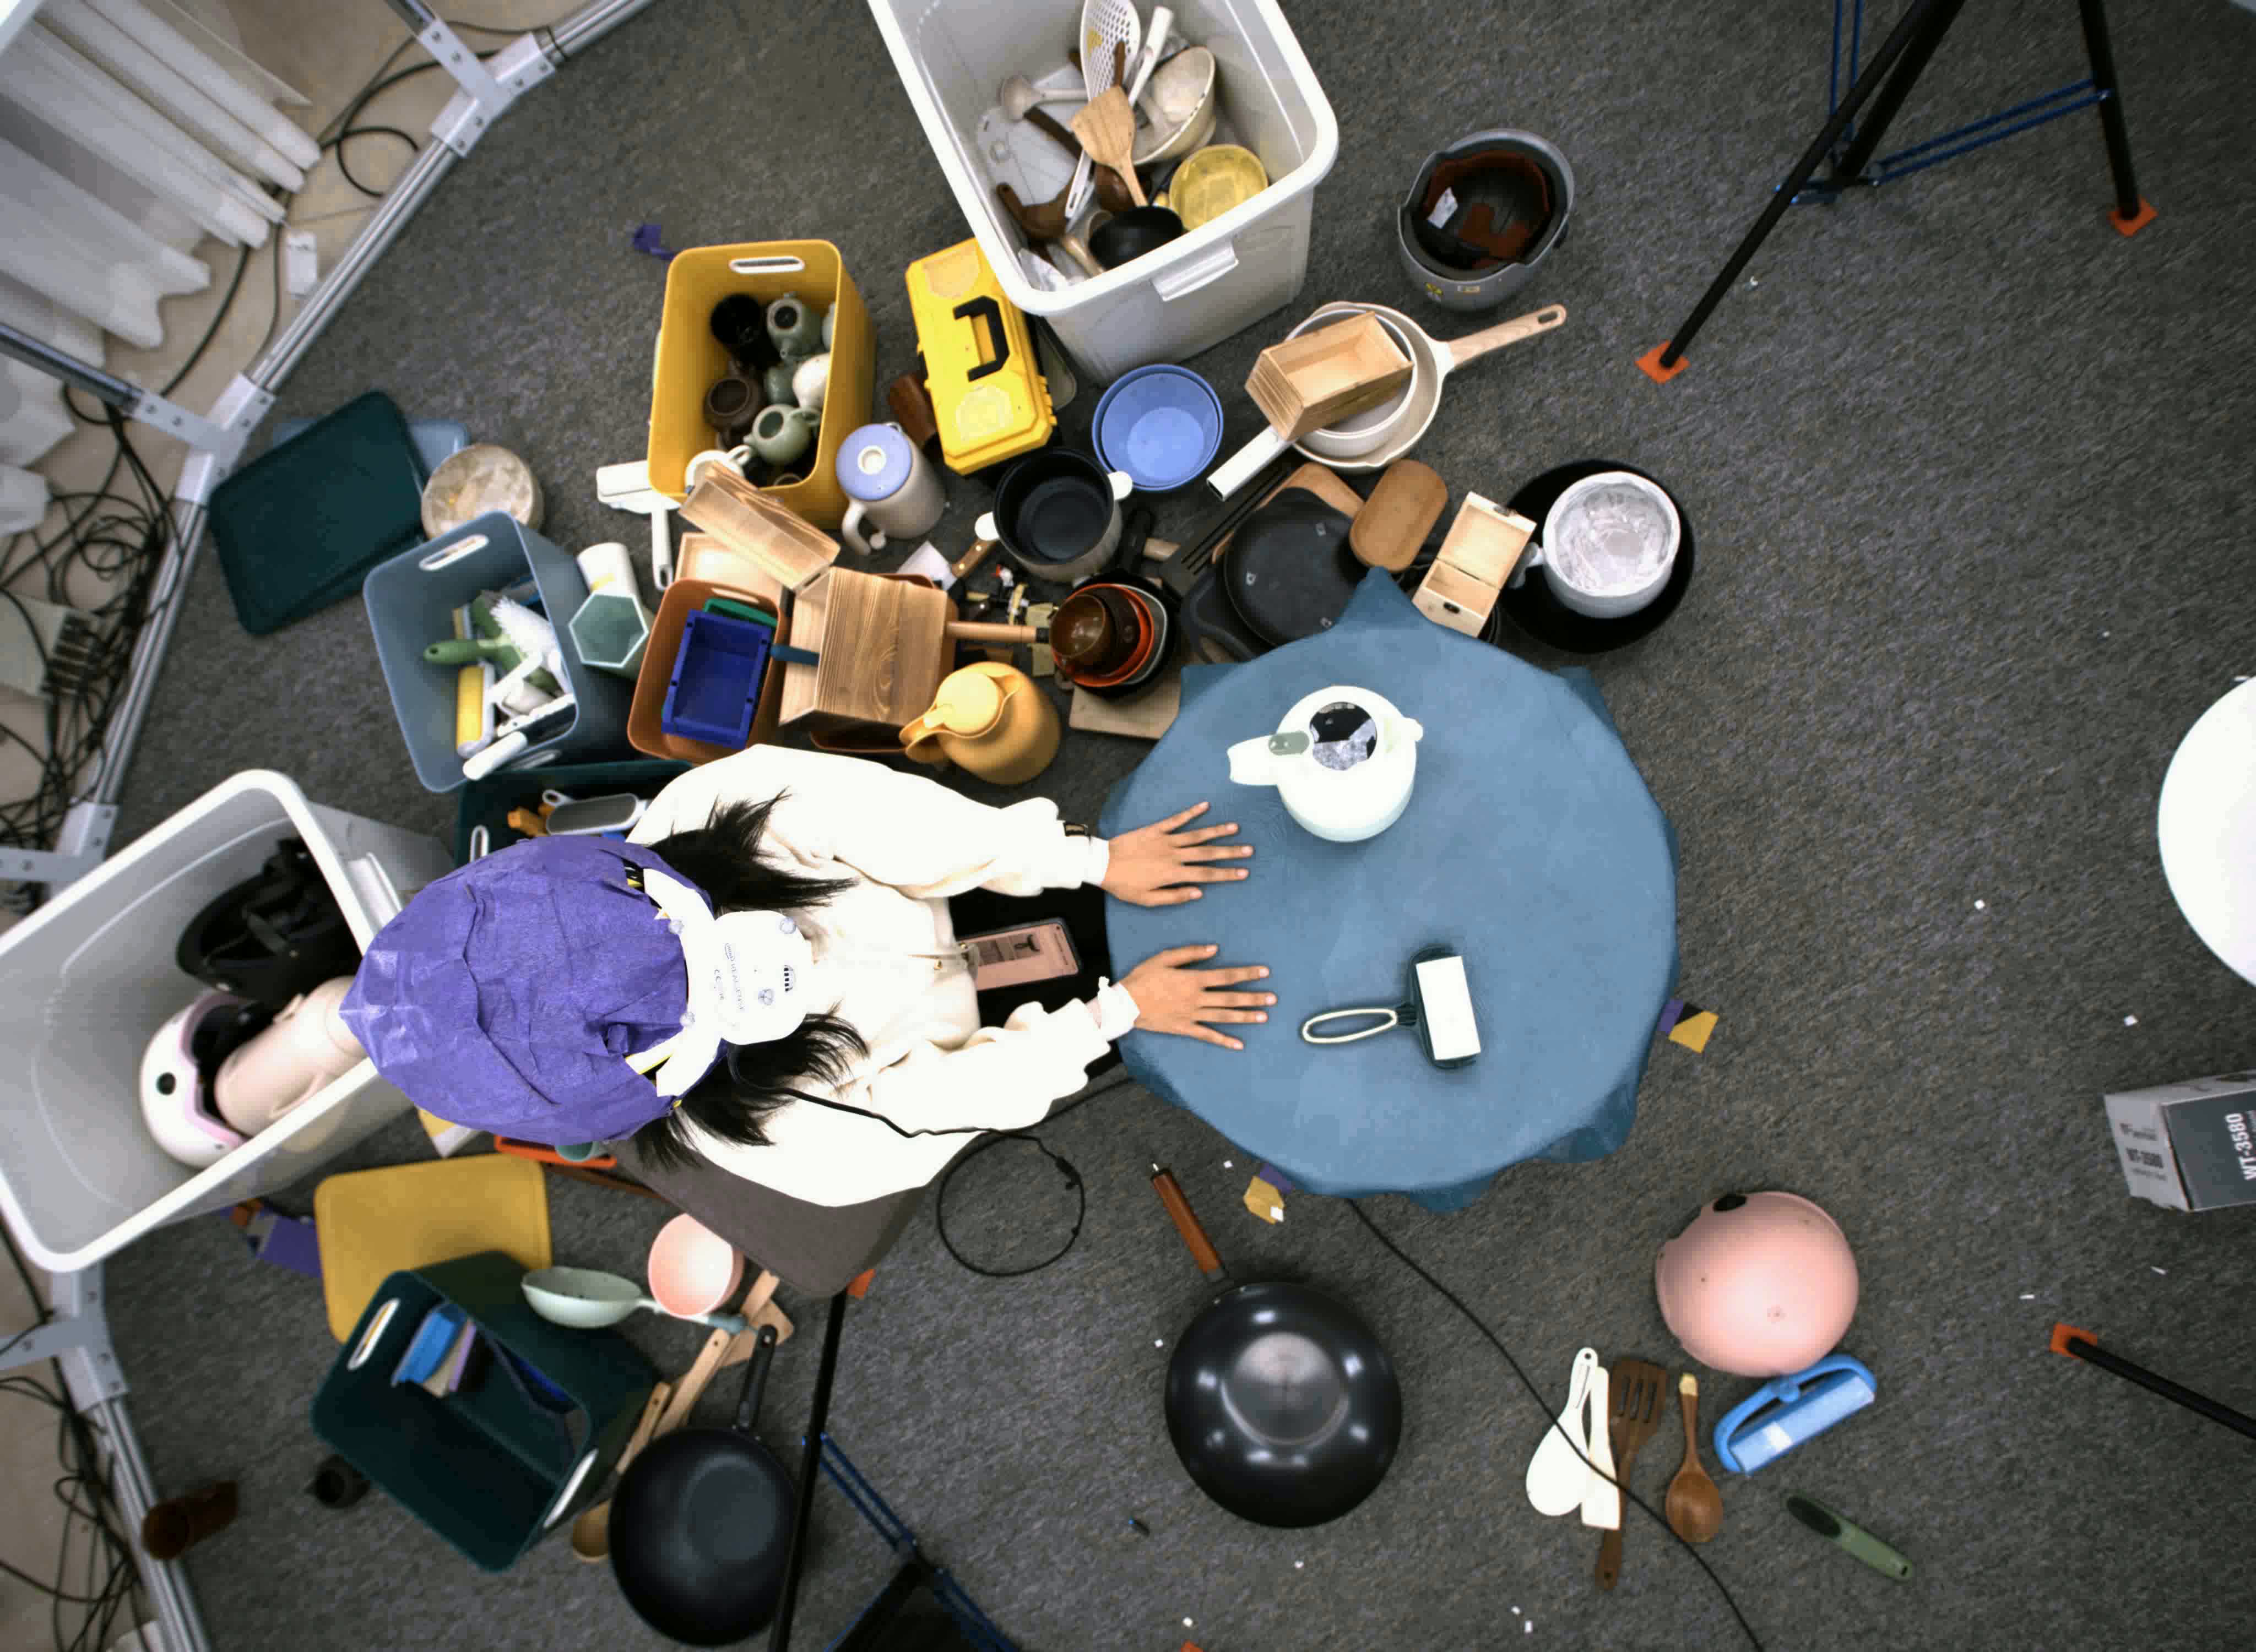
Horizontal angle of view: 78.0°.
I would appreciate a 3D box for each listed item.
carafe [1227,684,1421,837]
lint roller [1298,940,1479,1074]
[{"bbox_3d":[0.197,-0.068,1.355,0.188,0.256,0.143,-7,85,13],"label":"carafe"},{"bbox_3d":[0.264,0.197,1.430,0.181,0.048,0.133,-11,84,10],"label":"lint roller"}]
